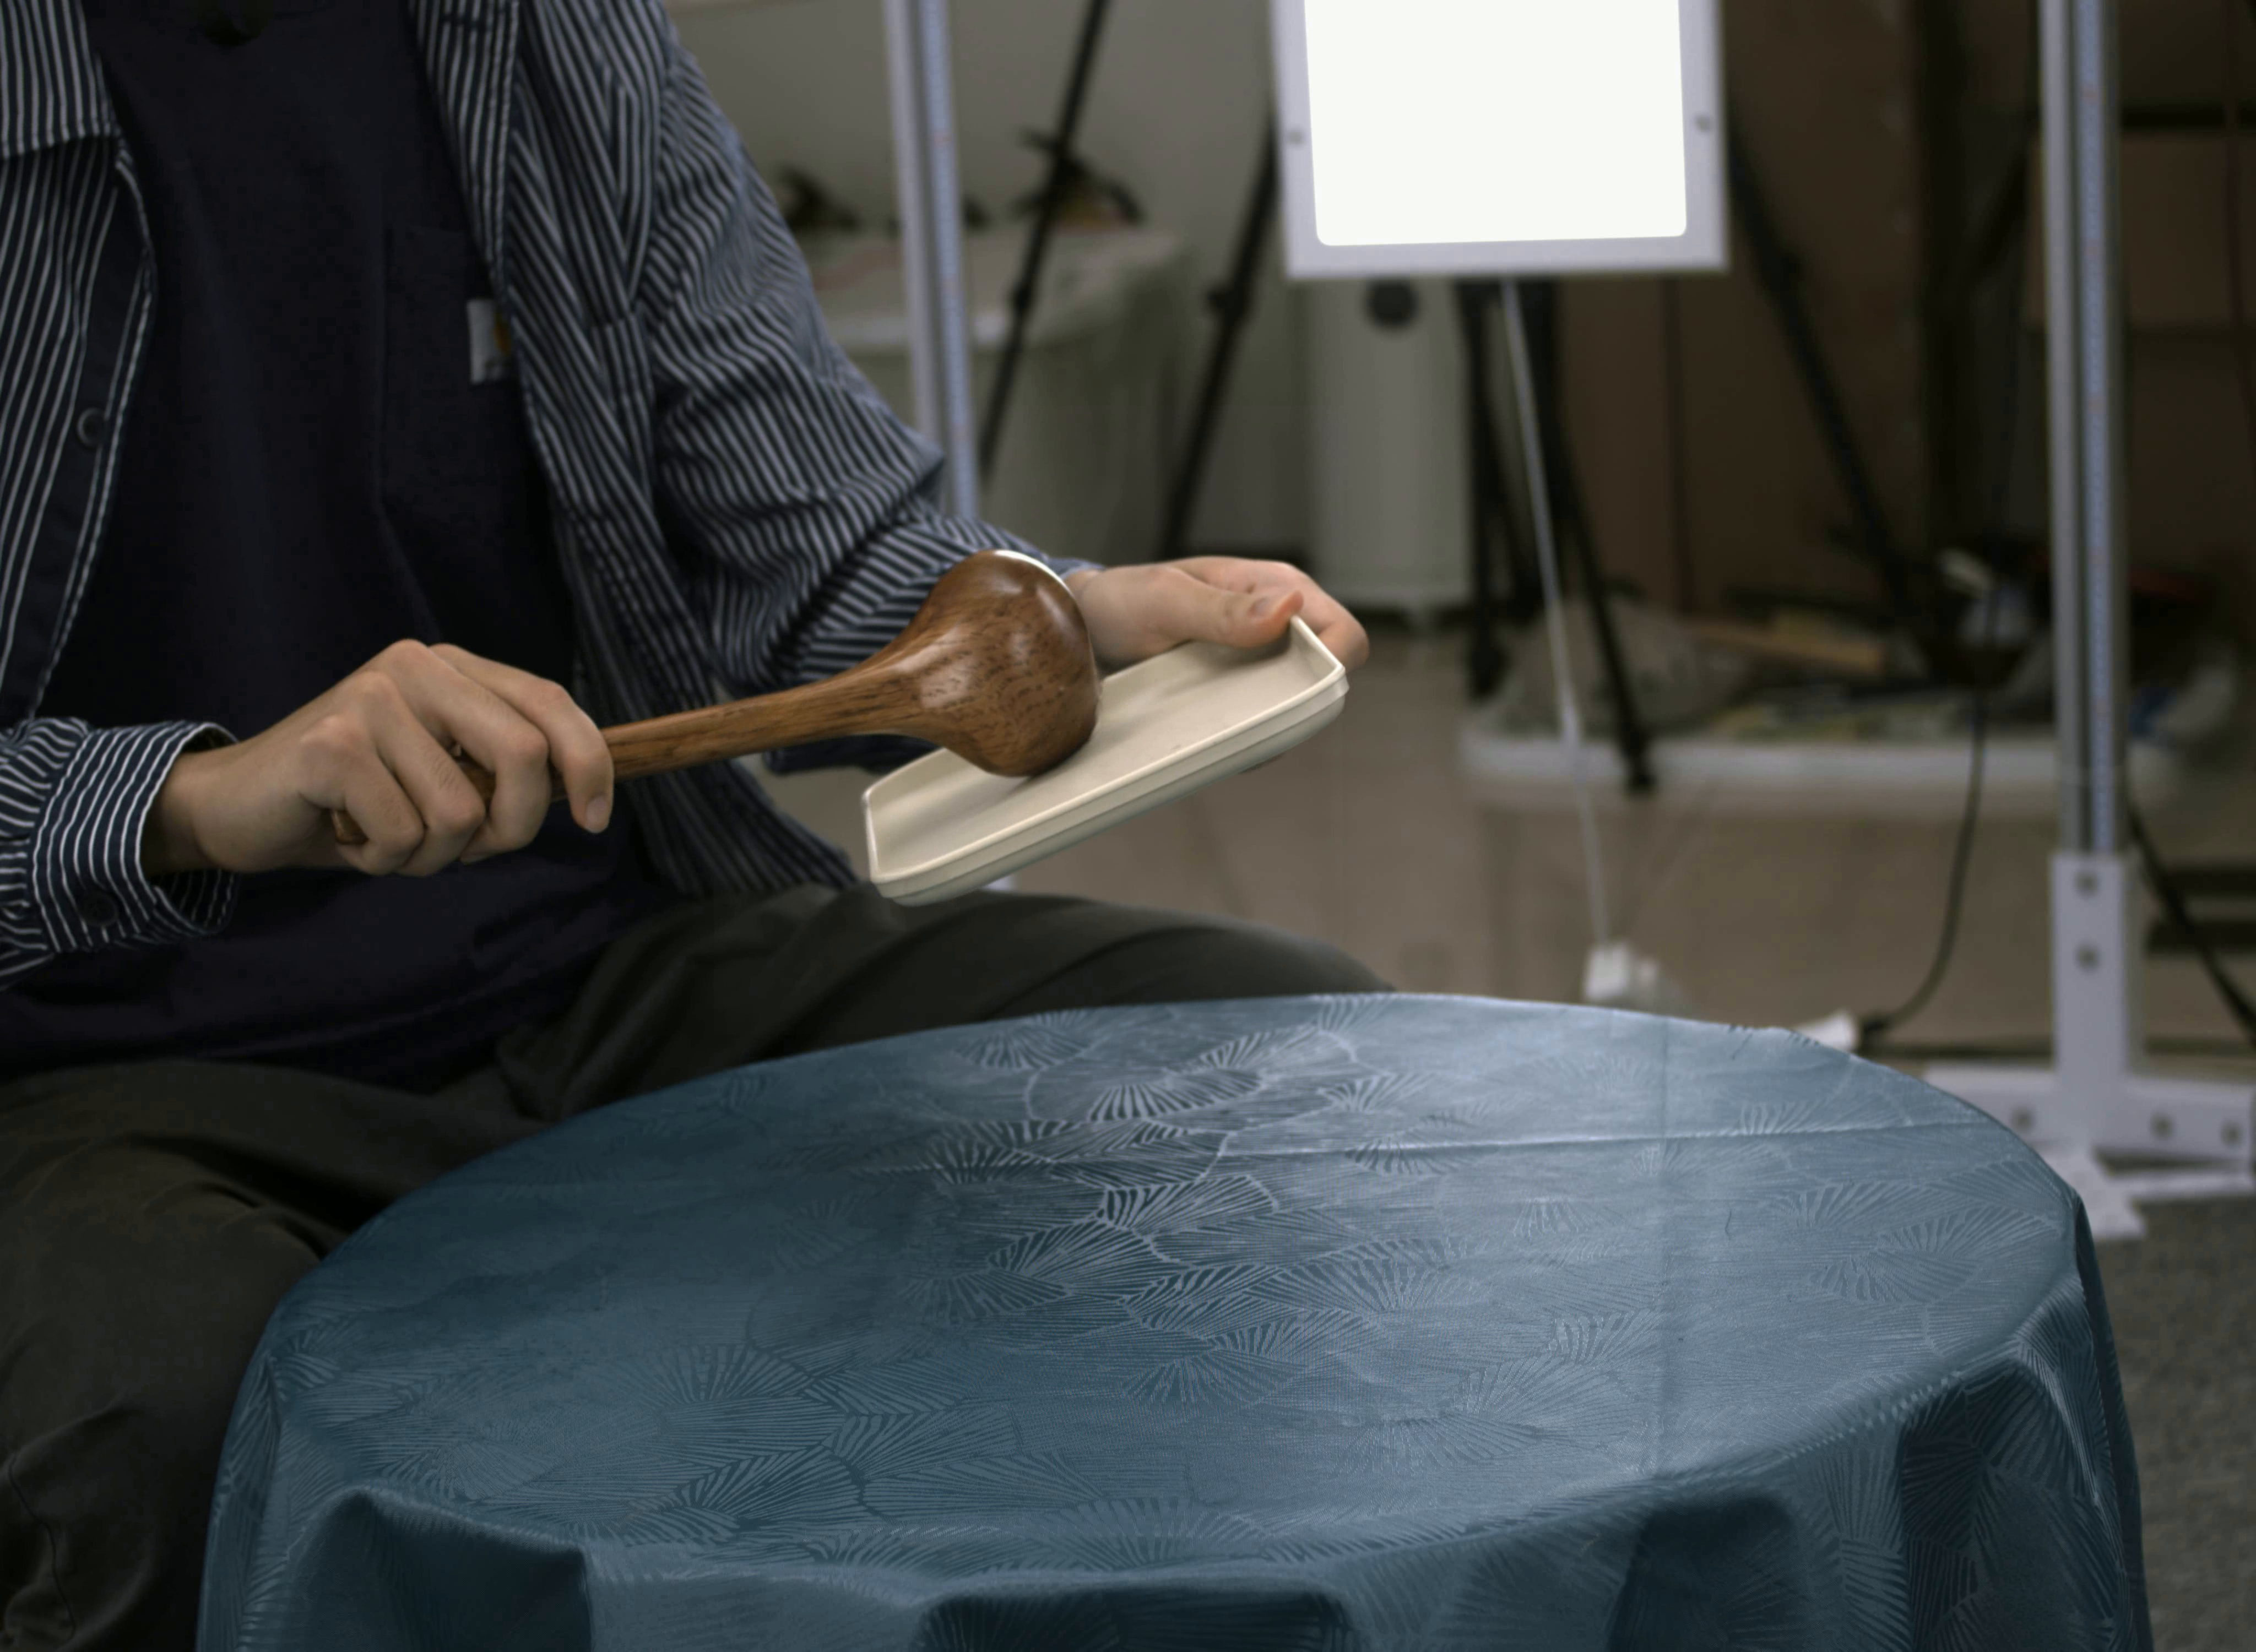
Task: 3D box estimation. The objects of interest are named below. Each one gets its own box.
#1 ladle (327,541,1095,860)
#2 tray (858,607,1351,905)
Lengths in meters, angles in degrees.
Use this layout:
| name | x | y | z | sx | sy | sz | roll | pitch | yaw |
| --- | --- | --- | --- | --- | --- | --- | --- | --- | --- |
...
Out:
| name | x | y | z | sx | sy | sz | roll | pitch | yaw |
| --- | --- | --- | --- | --- | --- | --- | --- | --- | --- |
| ladle | -0.144 | -0.035 | 1.924 | 0.273 | 0.082 | 0.077 | -14 | -2 | -1 |
| tray | -0.010 | -0.024 | 1.873 | 0.171 | 0.017 | 0.240 | -24 | 9 | 1 |
